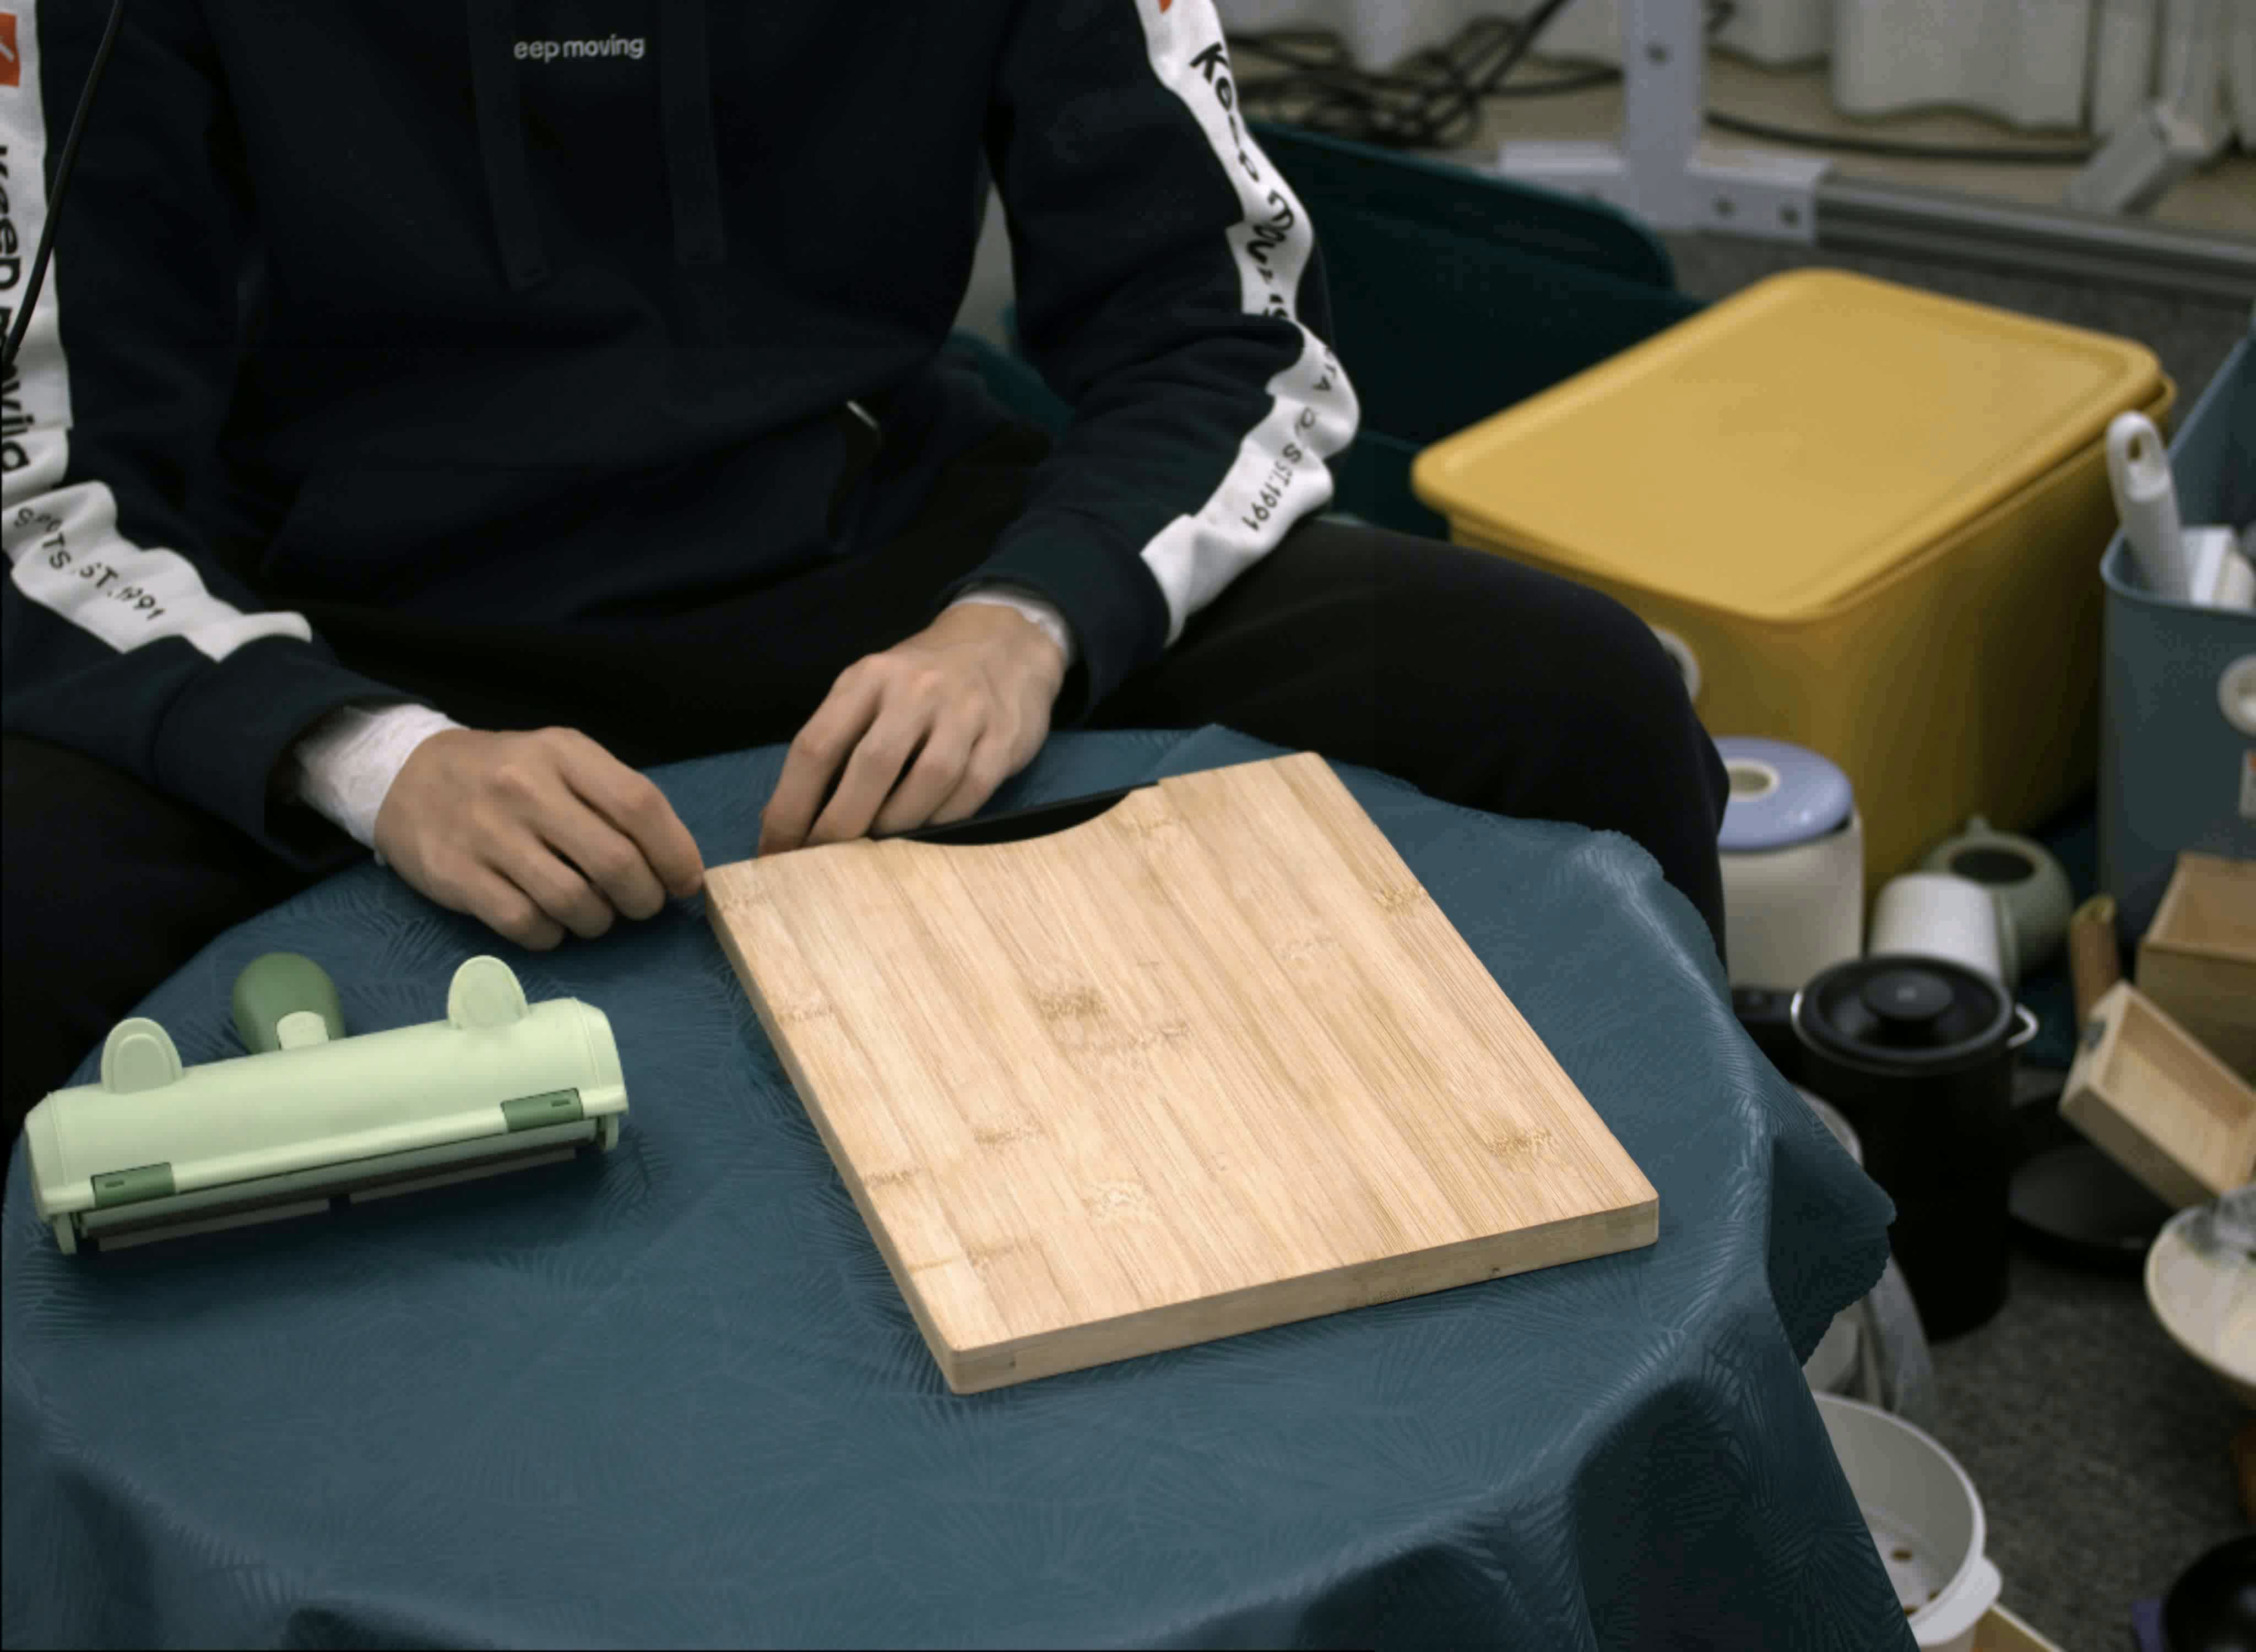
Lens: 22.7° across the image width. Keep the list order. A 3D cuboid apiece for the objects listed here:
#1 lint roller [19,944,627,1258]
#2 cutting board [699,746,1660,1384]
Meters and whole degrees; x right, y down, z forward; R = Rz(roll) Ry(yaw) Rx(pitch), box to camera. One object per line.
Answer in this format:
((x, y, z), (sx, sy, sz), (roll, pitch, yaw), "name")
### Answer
((-0.282, 0.067, 1.907), (0.198, 0.081, 0.185), (-10, 31, -13), "lint roller")
((0.008, 0.075, 1.932), (0.251, 0.023, 0.352), (-11, 29, -15), "cutting board")
